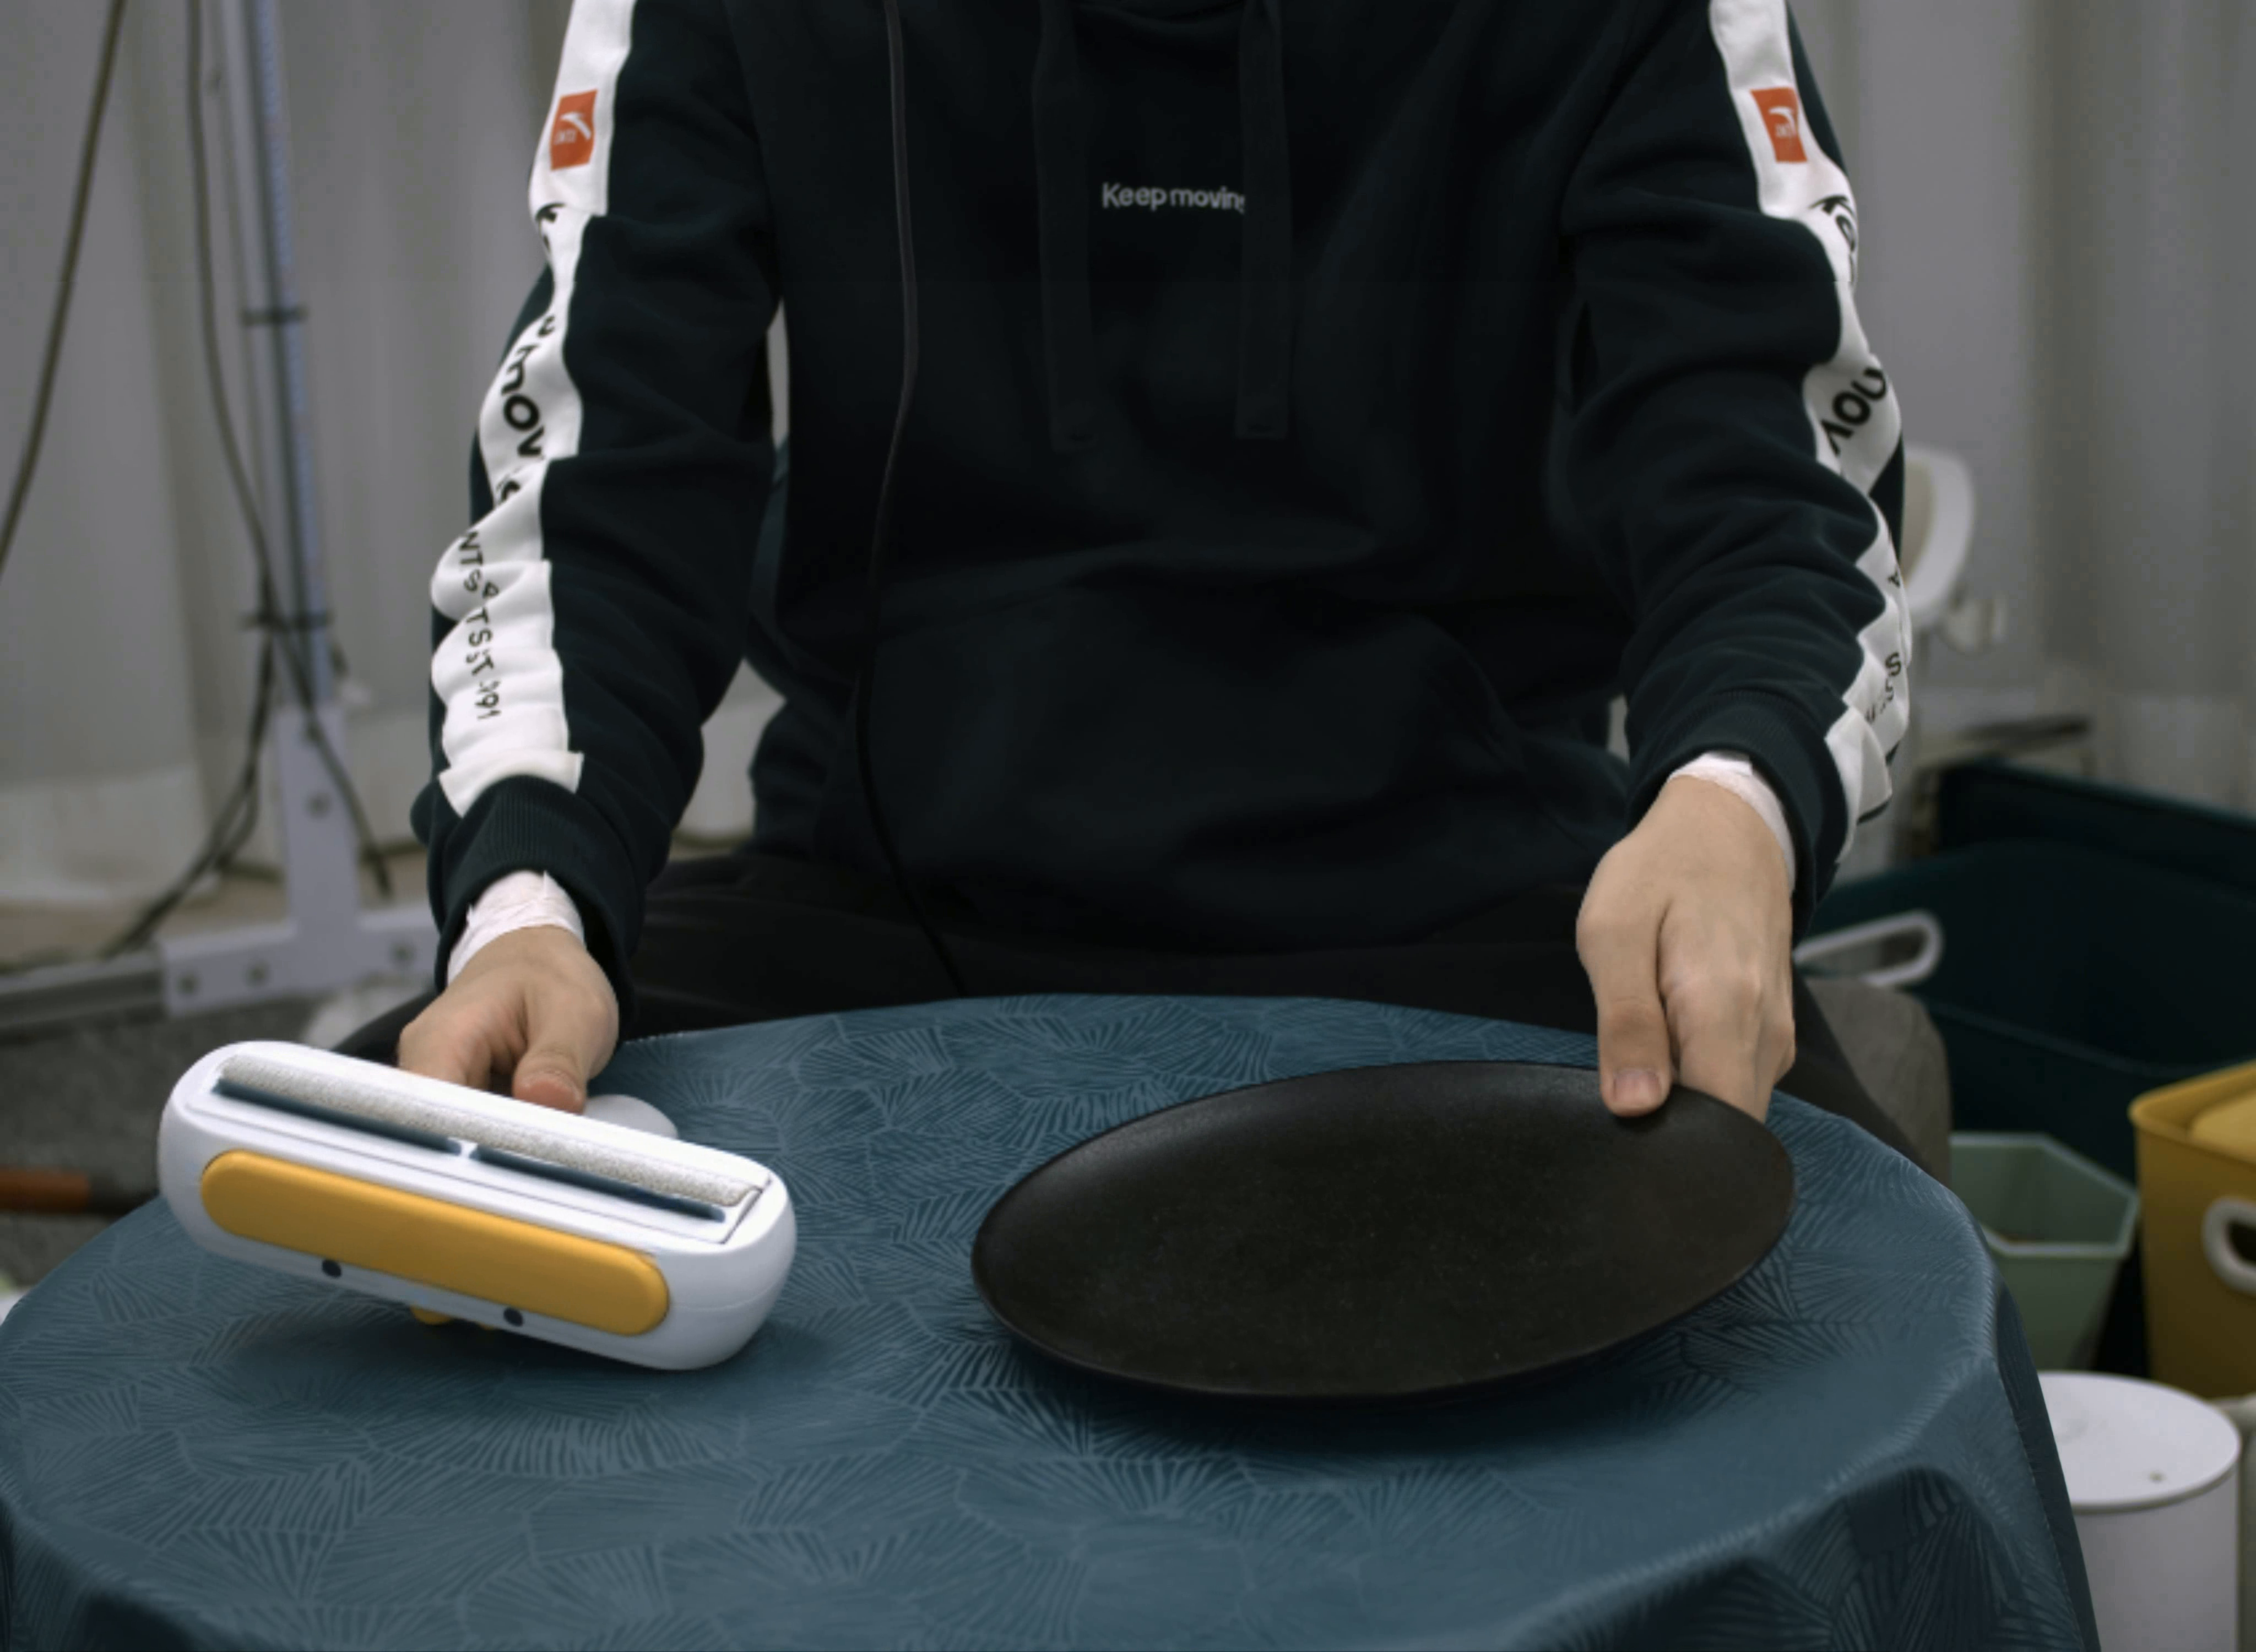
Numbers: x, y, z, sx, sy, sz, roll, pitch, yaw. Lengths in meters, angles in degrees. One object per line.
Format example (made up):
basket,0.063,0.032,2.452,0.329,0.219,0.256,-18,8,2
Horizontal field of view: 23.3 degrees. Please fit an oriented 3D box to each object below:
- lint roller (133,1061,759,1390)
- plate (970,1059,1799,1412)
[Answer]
lint roller,-0.184,0.121,1.665,0.193,0.074,0.192,11,5,18
plate,0.075,0.123,1.594,0.243,0.023,0.246,-7,18,2
